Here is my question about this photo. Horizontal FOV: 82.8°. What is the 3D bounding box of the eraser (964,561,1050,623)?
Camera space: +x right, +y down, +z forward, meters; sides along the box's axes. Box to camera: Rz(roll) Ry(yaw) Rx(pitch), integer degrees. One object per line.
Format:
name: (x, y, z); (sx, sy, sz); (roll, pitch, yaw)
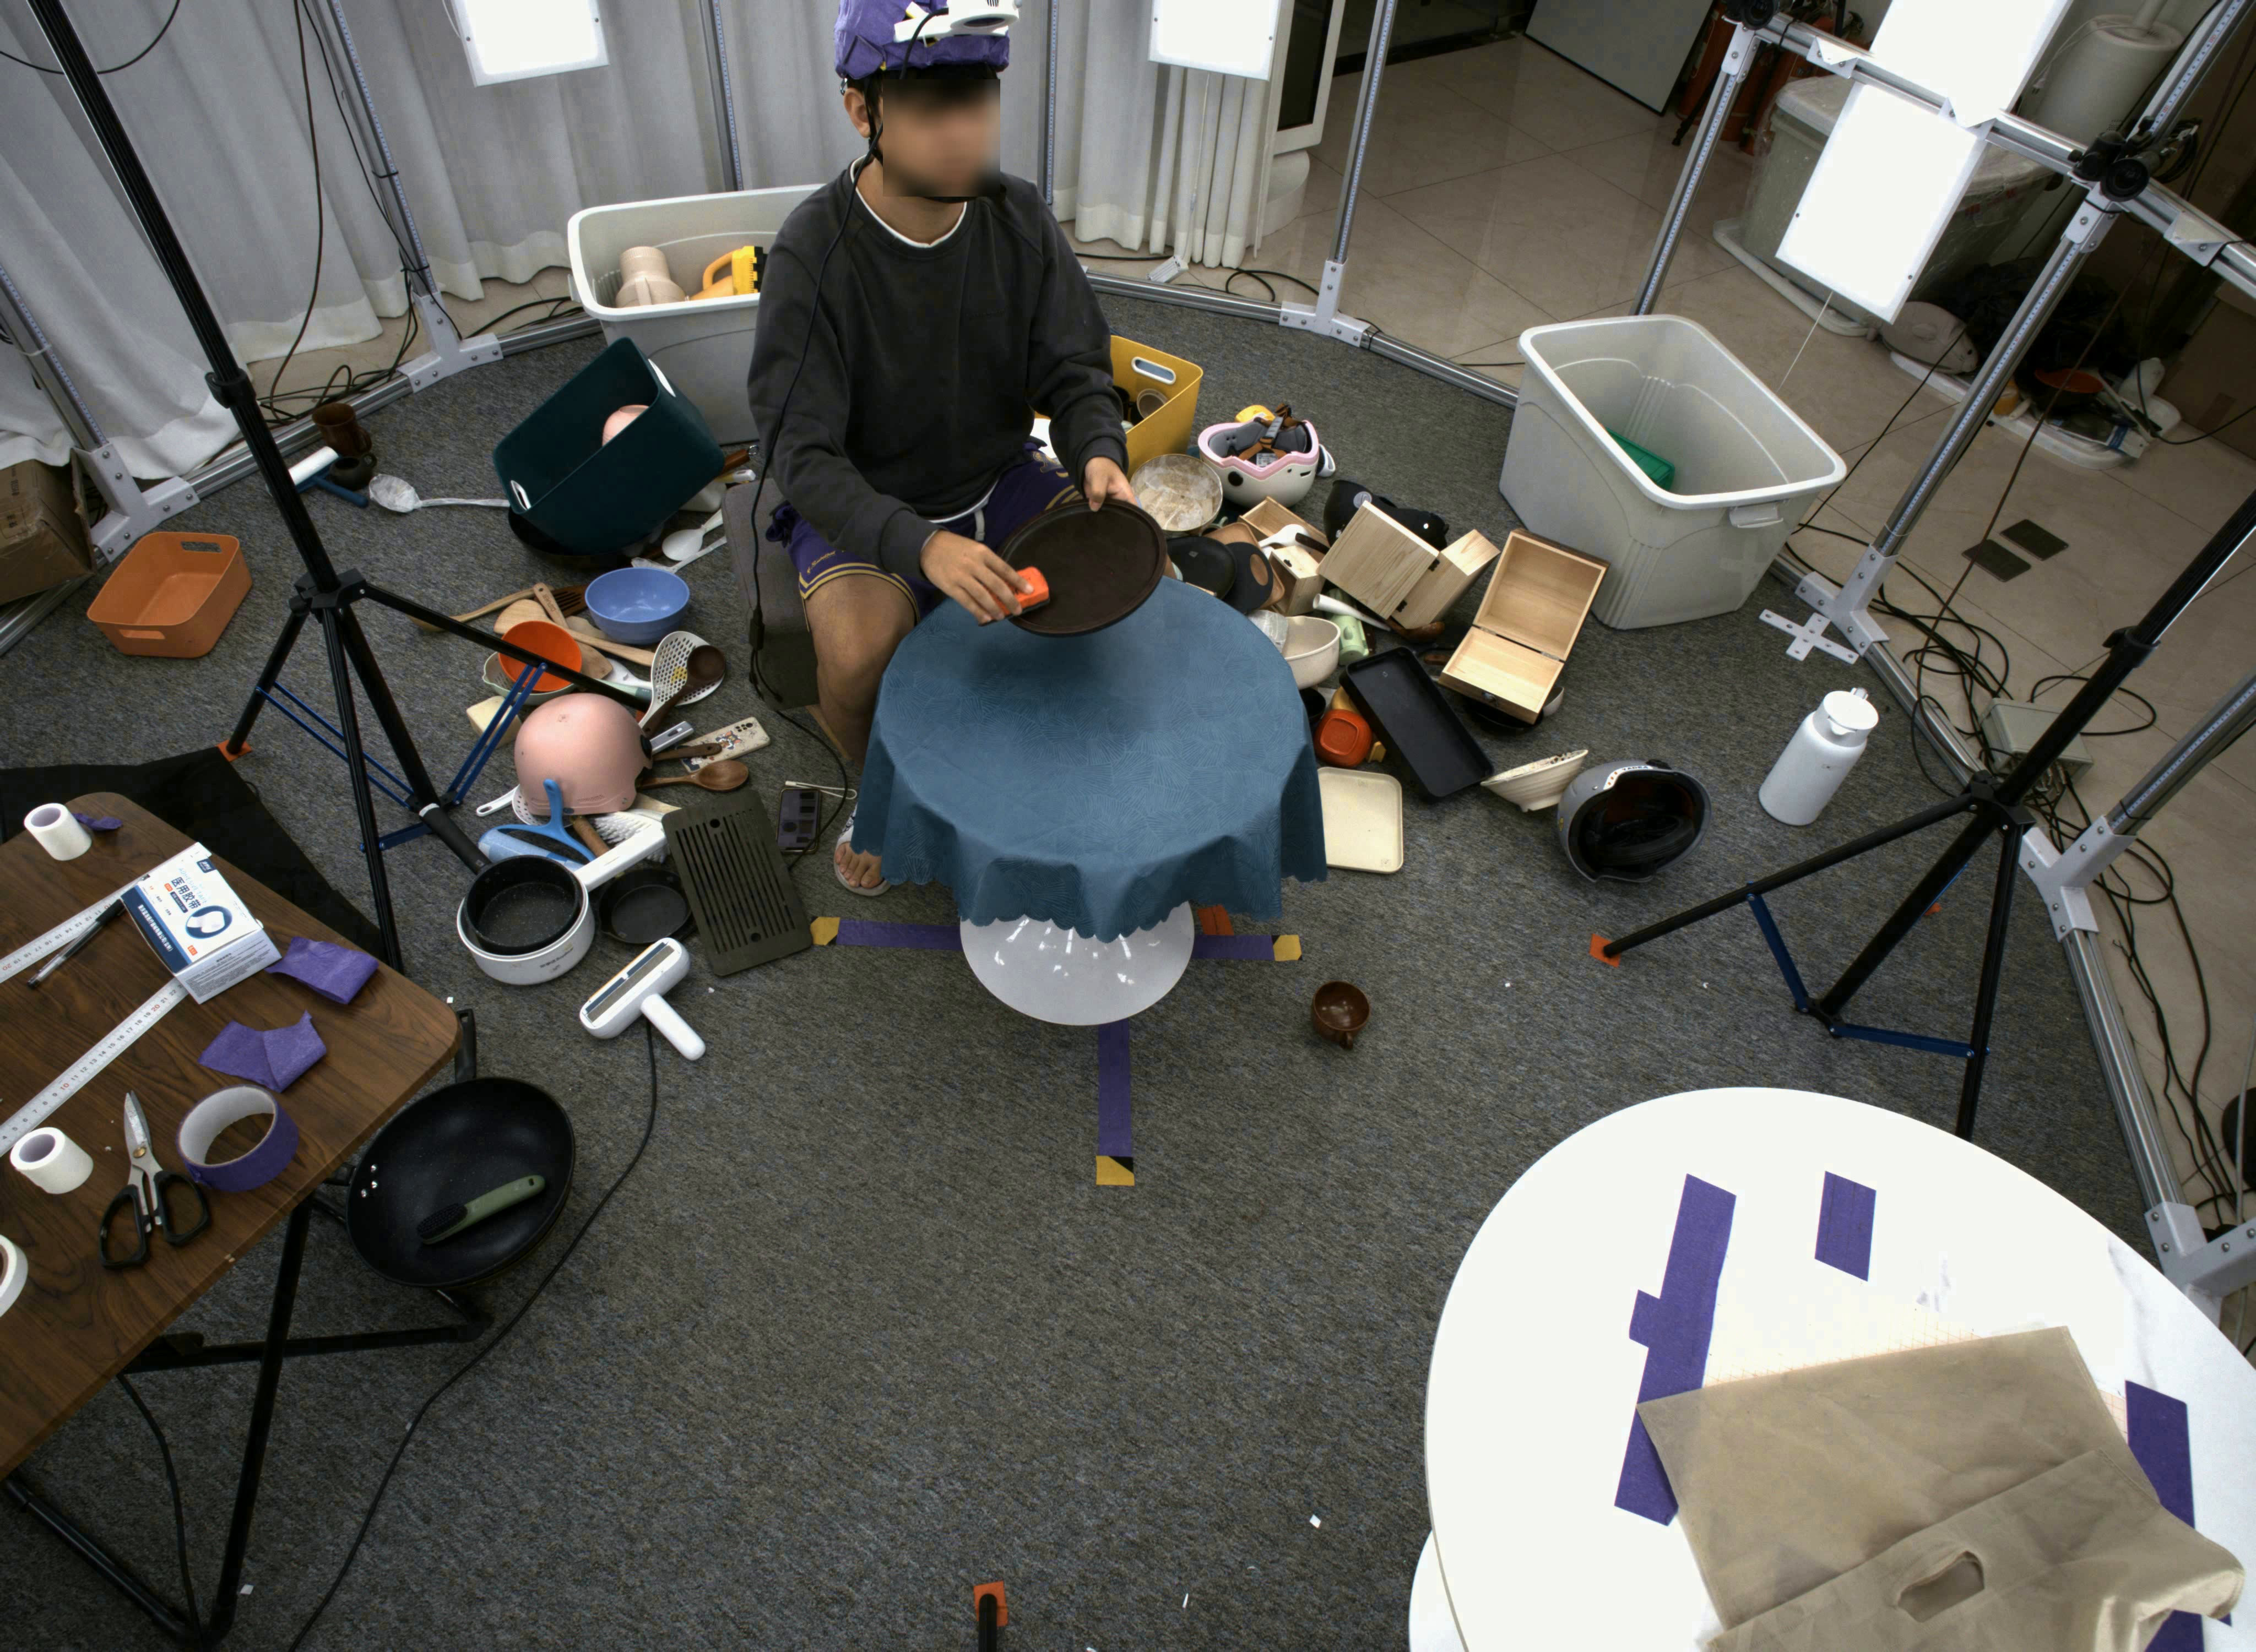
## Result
eraser: (-0.164, -0.319, 1.751); (0.108, 0.022, 0.060); (-24, 56, -12)

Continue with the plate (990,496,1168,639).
plate: (-0.067, -0.358, 1.781); (0.255, 0.028, 0.261); (-8, 54, 12)
